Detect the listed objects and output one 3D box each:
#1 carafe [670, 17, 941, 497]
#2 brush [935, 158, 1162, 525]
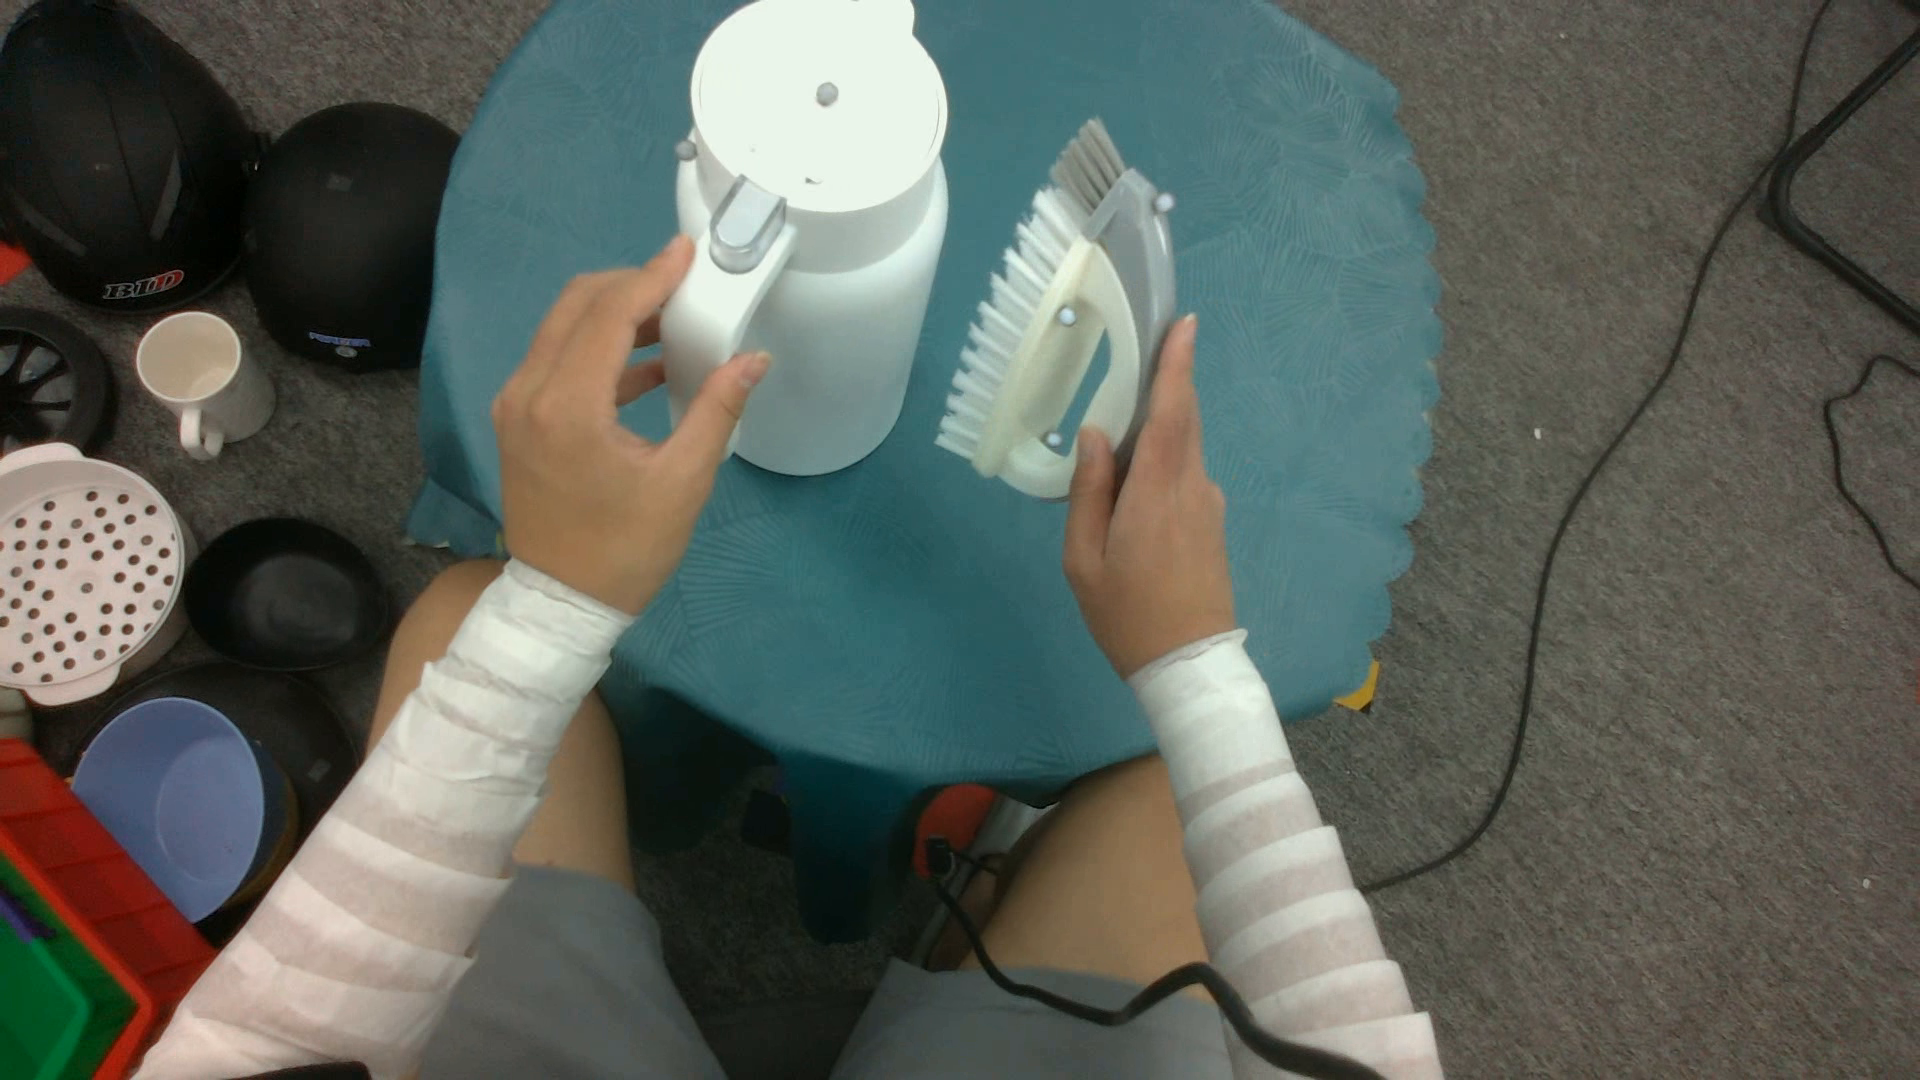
[{"bbox_3d":[-0.080,-0.104,0.667,0.124,0.268,0.173,25,70,-1],"label":"carafe"},{"bbox_3d":[0.050,-0.080,0.637,0.094,0.174,0.062,35,43,19],"label":"brush"}]
